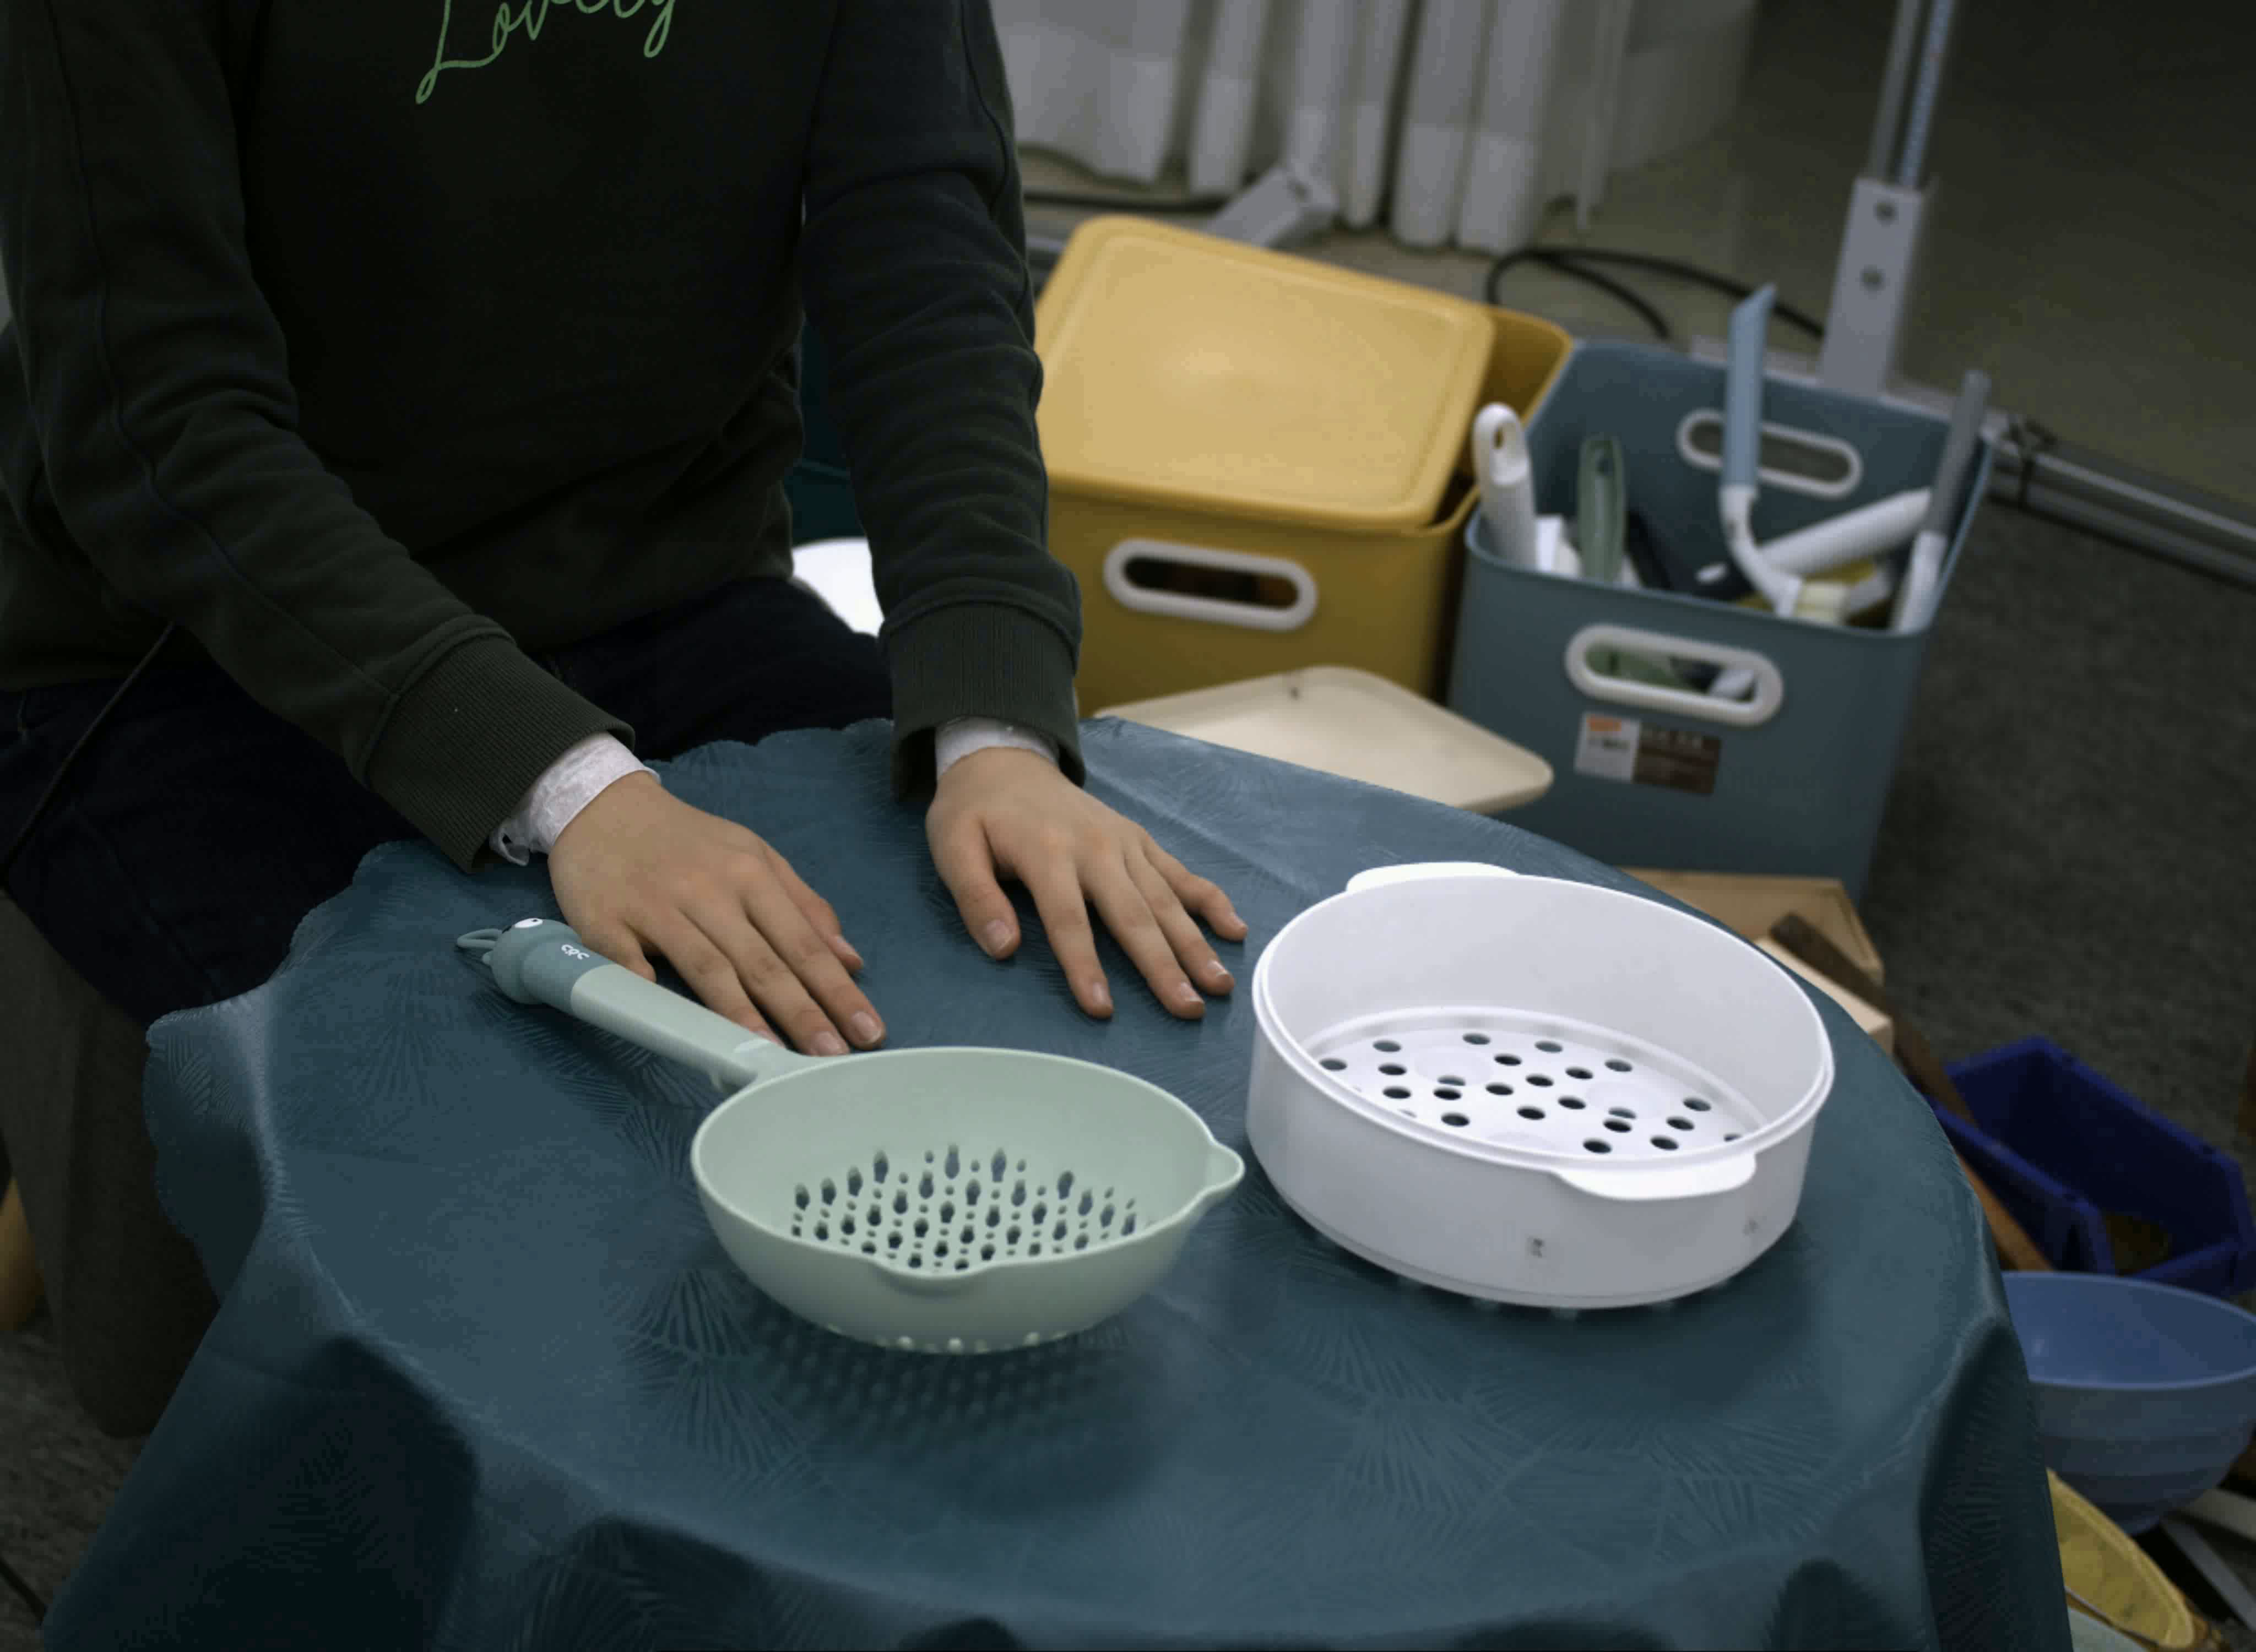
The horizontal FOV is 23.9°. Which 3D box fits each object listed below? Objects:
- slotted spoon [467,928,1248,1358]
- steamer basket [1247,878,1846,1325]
[{"bbox_3d":[-0.117,0.089,1.773,0.168,0.075,0.362,-14,33,-37],"label":"slotted spoon"},{"bbox_3d":[0.141,0.096,1.817,0.200,0.069,0.232,-3,28,-21],"label":"steamer basket"}]
